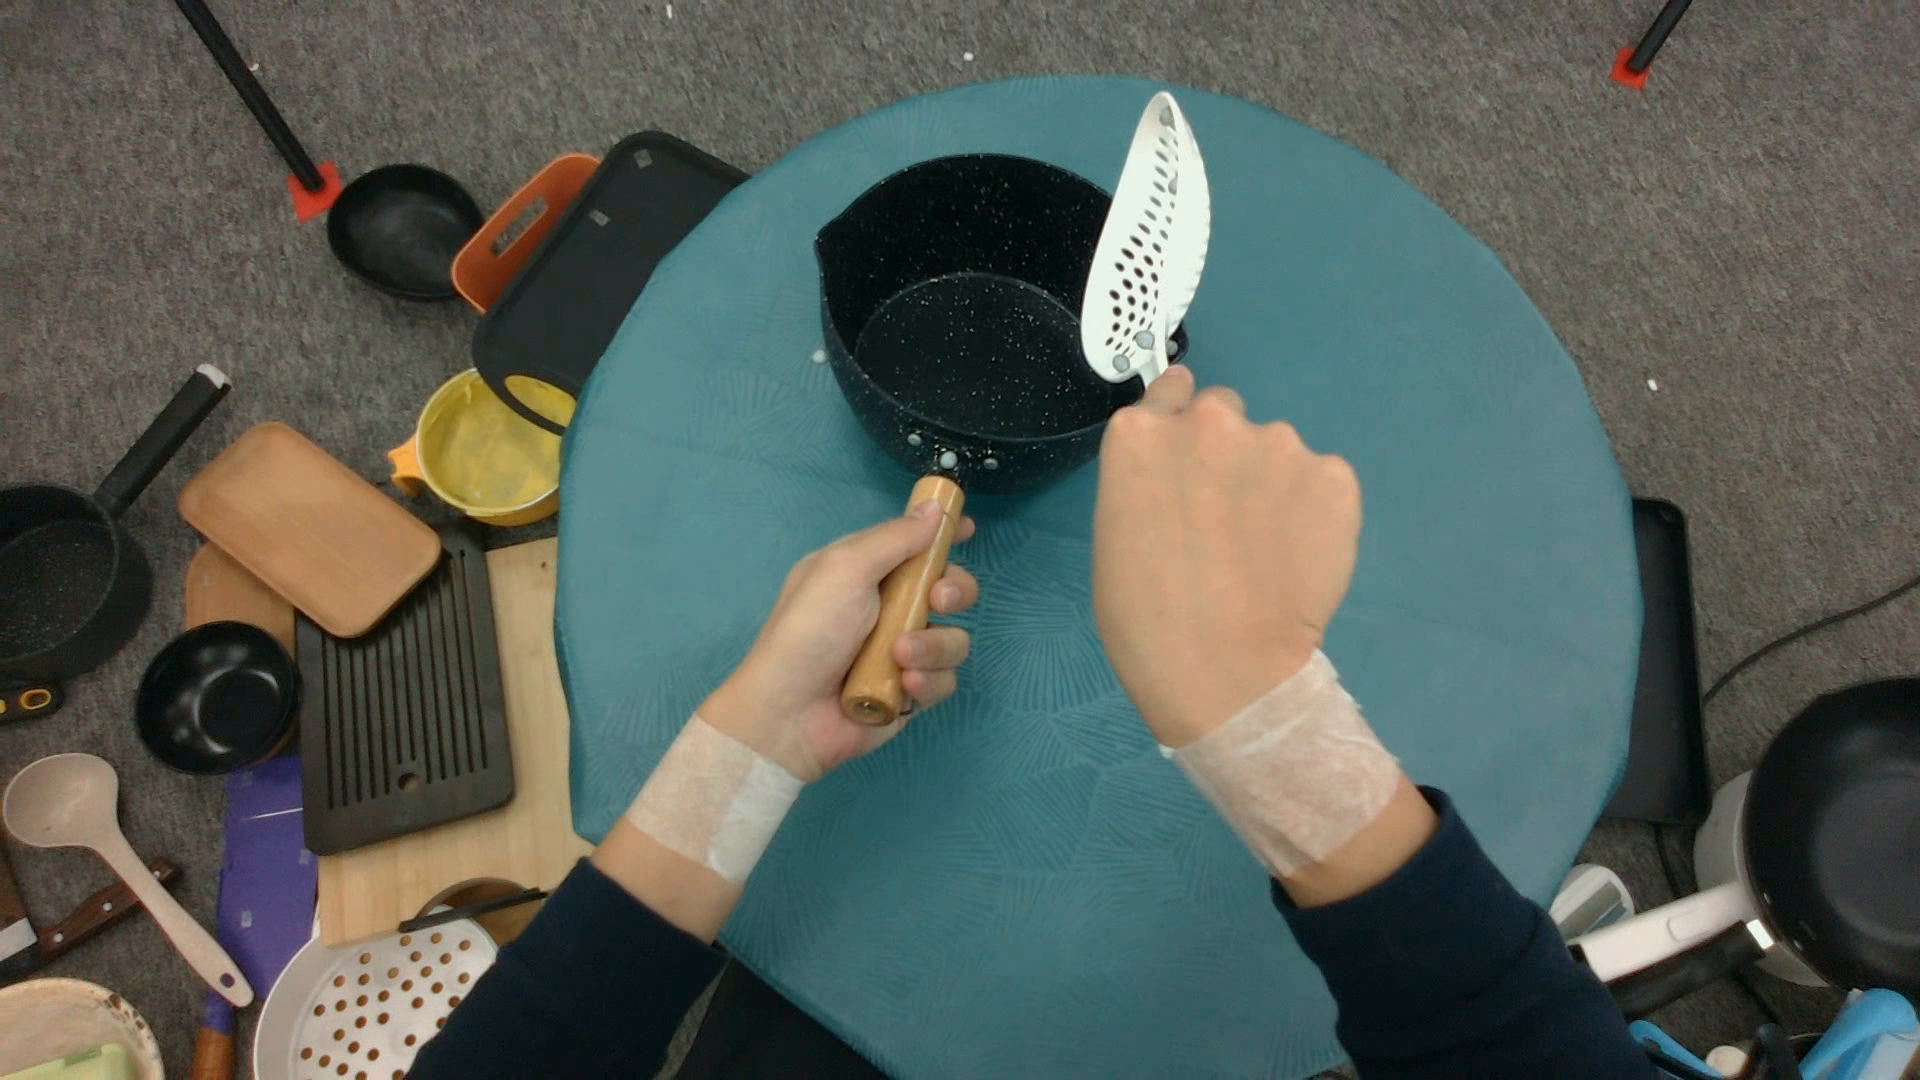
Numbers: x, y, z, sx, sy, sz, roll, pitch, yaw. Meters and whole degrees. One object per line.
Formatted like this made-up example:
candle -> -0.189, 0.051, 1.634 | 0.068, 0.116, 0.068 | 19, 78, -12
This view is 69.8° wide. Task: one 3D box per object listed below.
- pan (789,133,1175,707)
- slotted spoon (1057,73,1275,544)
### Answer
pan -> -0.009, -0.056, 0.691 | 0.207, 0.107, 0.344 | 16, 60, -1
slotted spoon -> 0.085, -0.096, 0.595 | 0.050, 0.136, 0.349 | 15, 33, -6
